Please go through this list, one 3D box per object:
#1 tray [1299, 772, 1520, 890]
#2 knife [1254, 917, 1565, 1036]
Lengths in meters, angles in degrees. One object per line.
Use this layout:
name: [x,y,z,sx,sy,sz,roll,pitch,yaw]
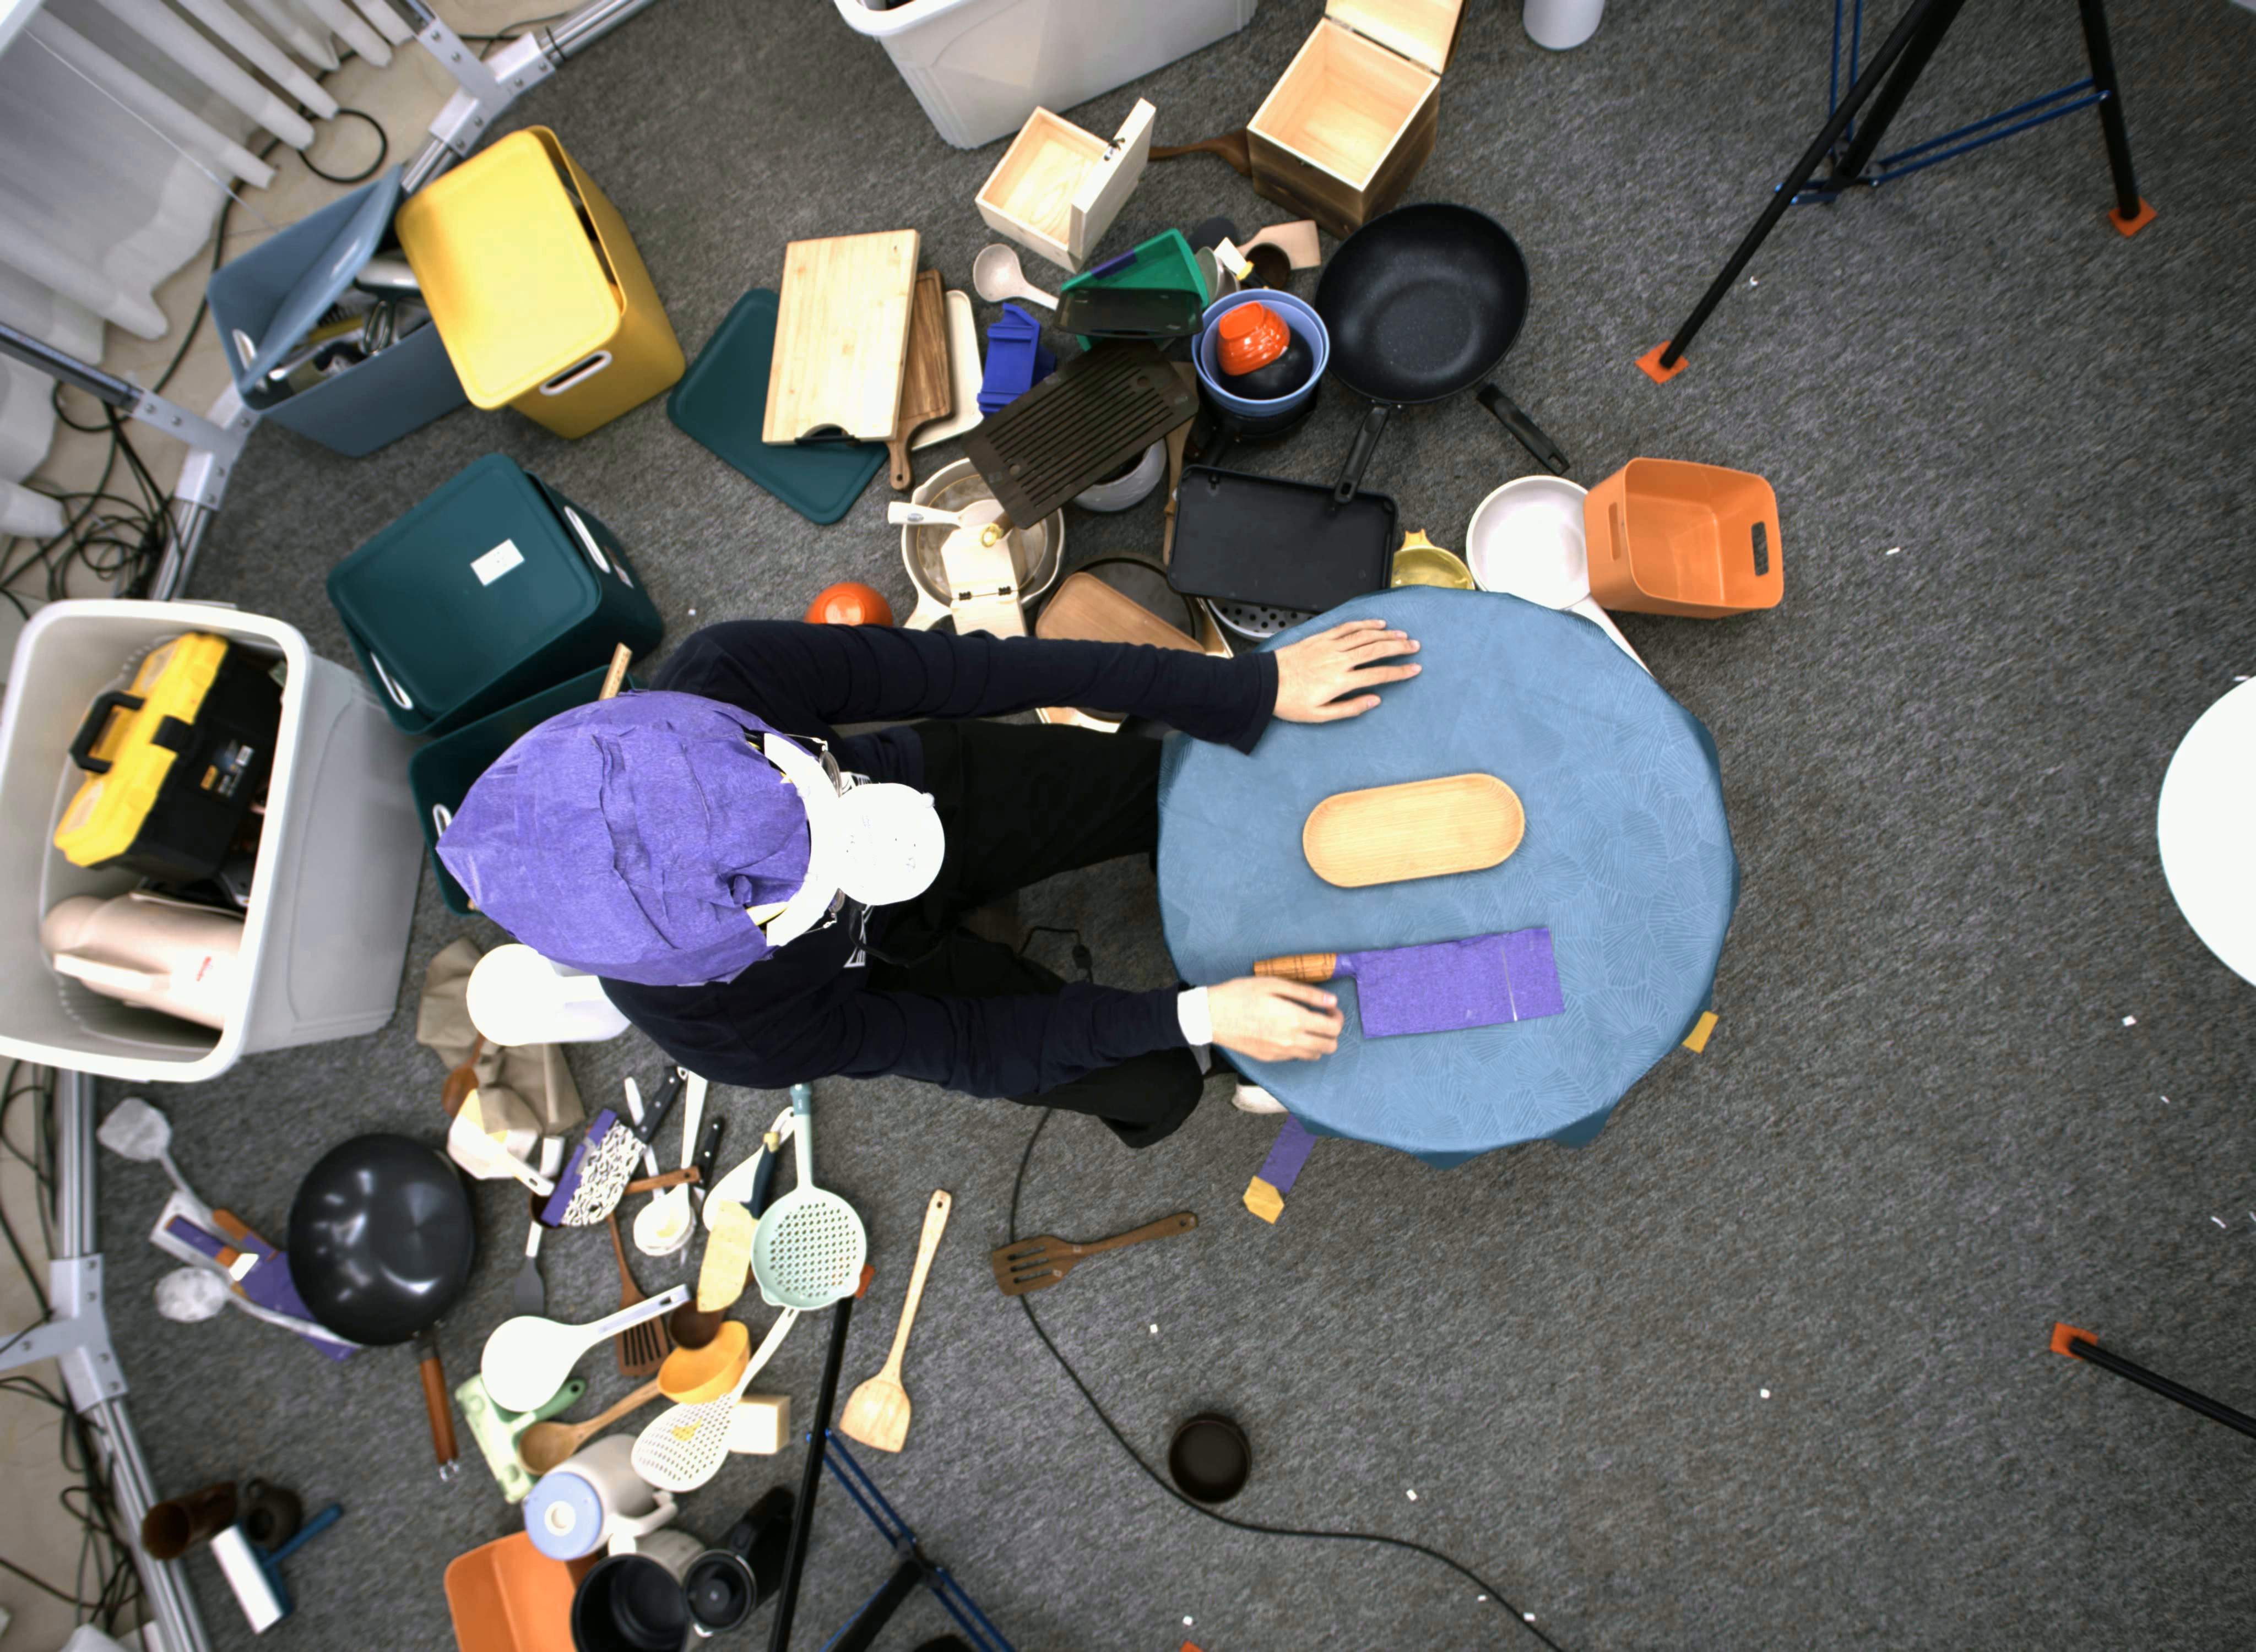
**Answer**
tray: [0.295,0.004,1.451,0.232,0.020,0.101,-11,84,12]
knife: [0.292,0.166,1.437,0.317,0.032,0.103,-9,84,10]
